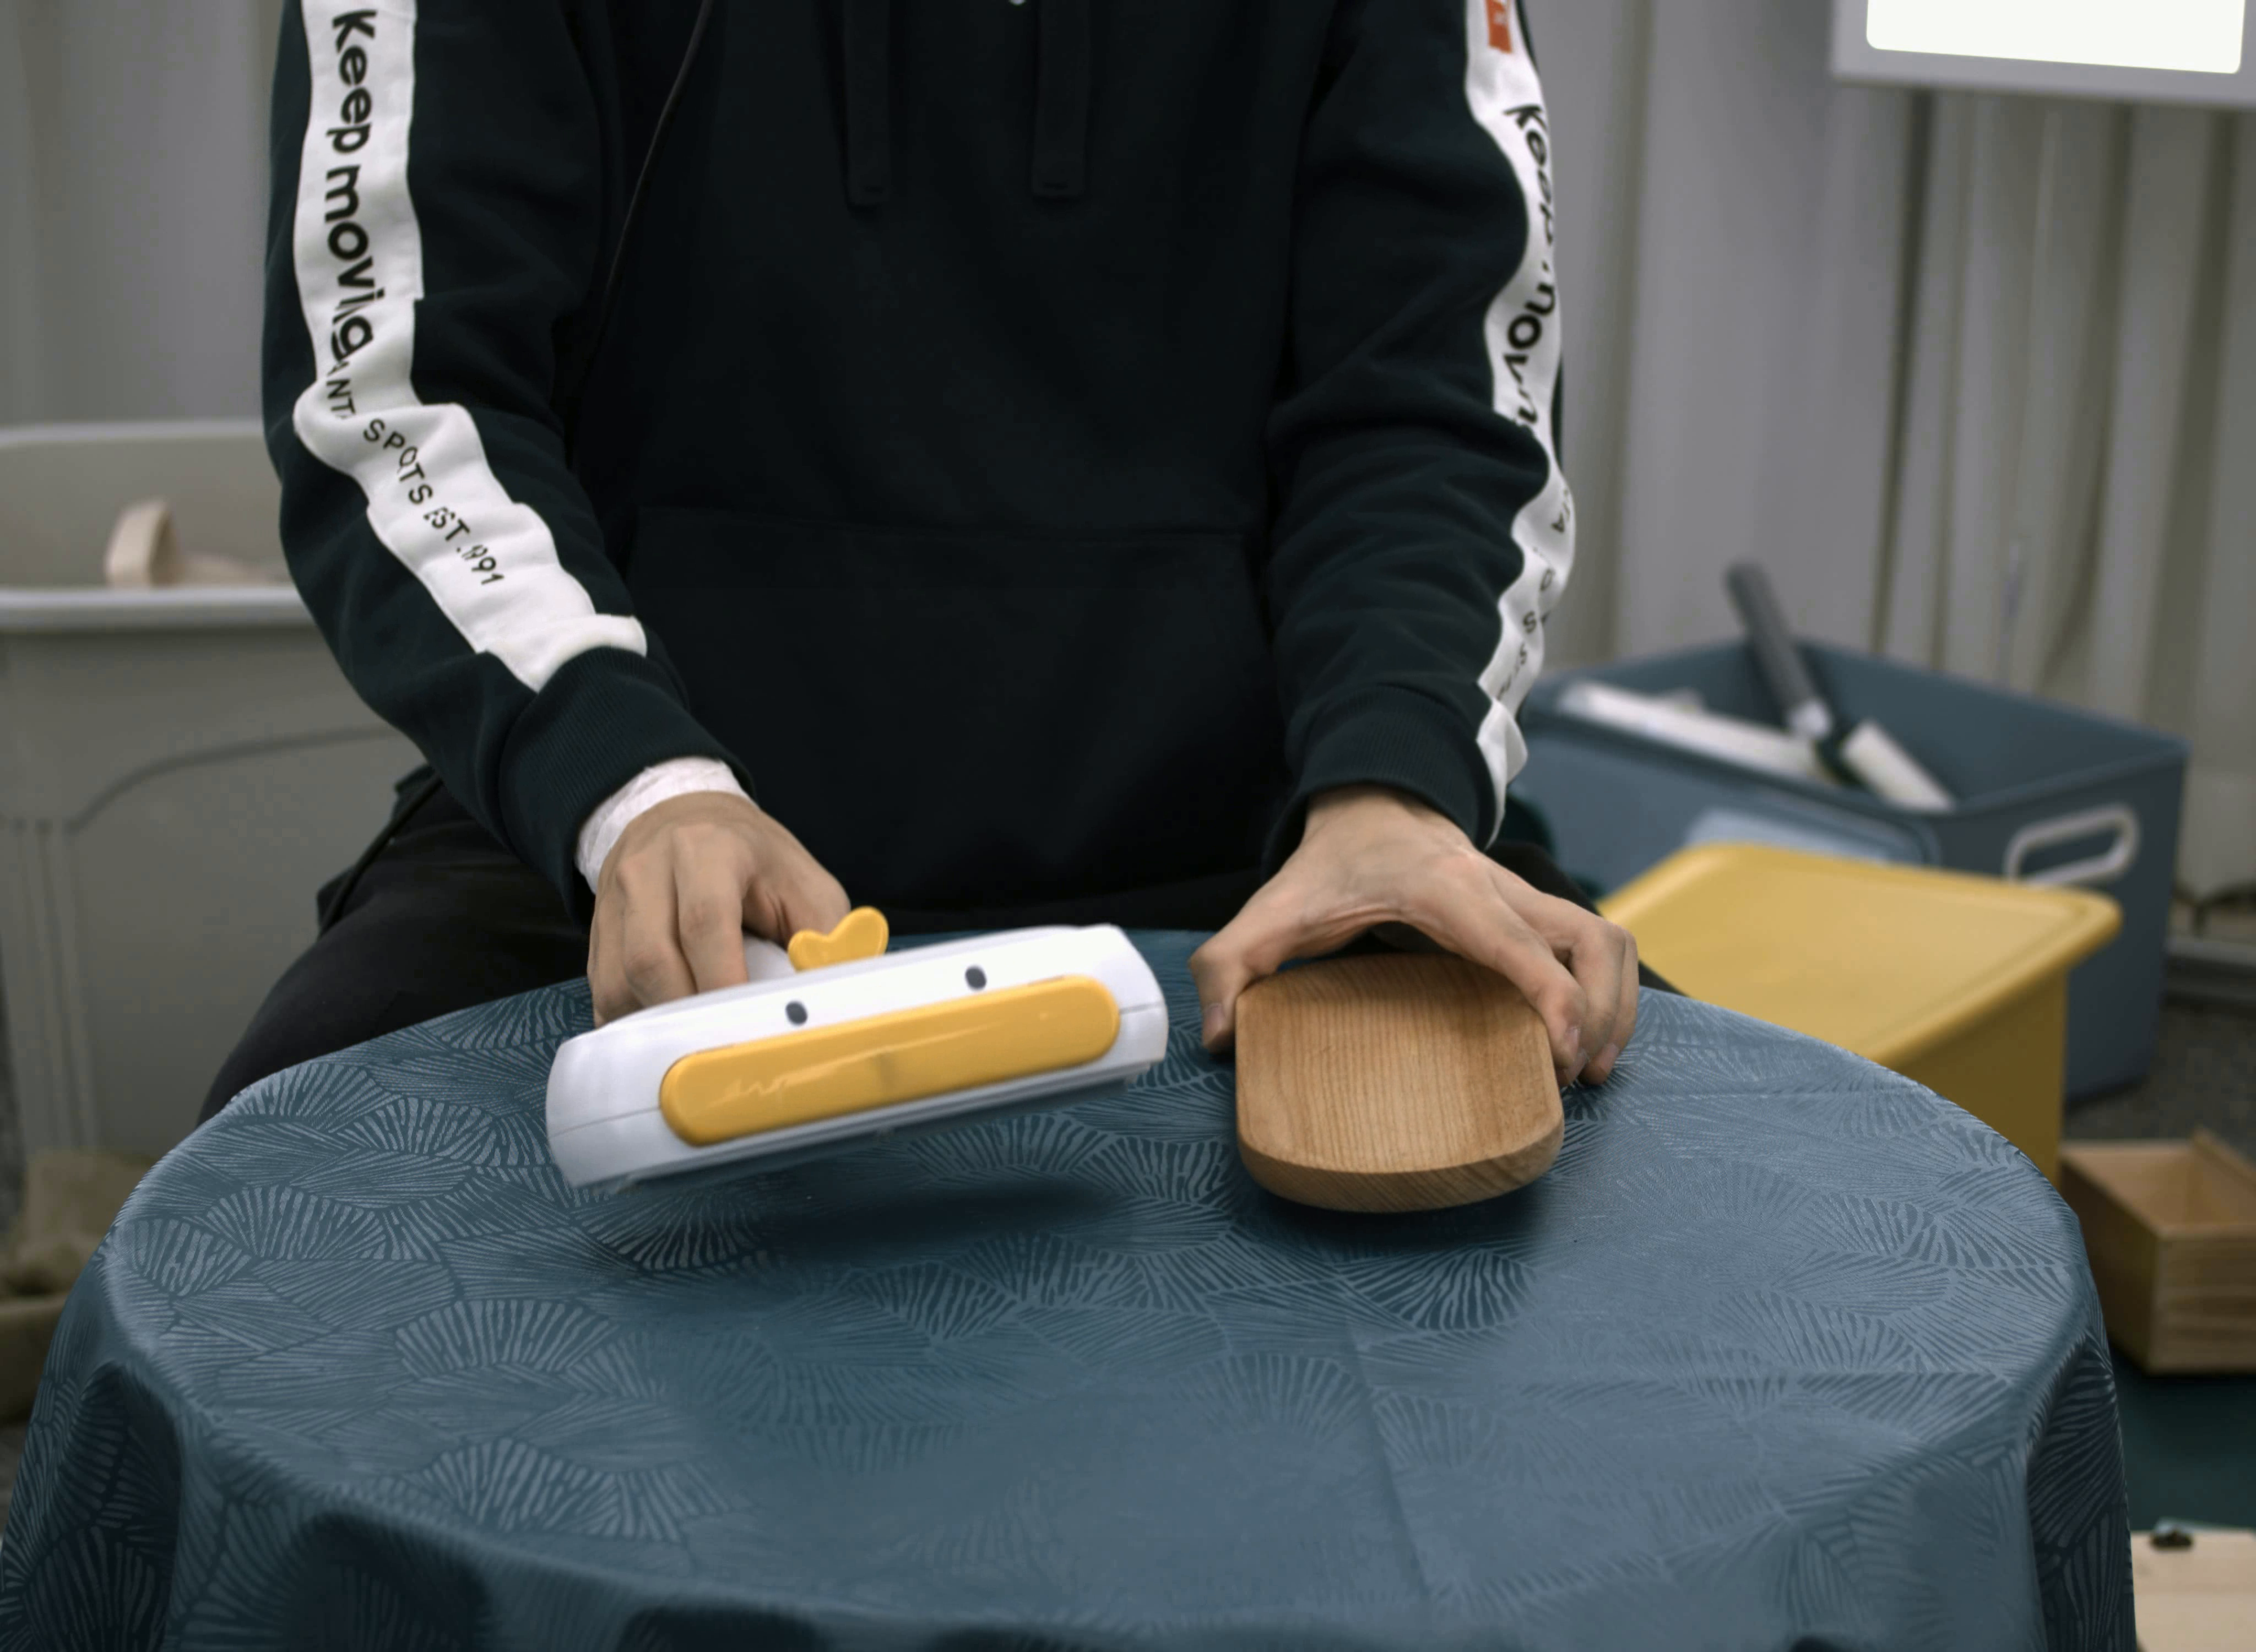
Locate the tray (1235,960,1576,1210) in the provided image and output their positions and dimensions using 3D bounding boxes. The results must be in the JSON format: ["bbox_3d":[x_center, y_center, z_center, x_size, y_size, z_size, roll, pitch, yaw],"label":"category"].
[{"bbox_3d":[0.086,0.080,1.667,0.101,0.020,0.230,-4,15,1],"label":"tray"}]

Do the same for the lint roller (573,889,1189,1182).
[{"bbox_3d":[-0.100,0.059,1.632,0.193,0.074,0.191,-16,6,-25],"label":"lint roller"}]
